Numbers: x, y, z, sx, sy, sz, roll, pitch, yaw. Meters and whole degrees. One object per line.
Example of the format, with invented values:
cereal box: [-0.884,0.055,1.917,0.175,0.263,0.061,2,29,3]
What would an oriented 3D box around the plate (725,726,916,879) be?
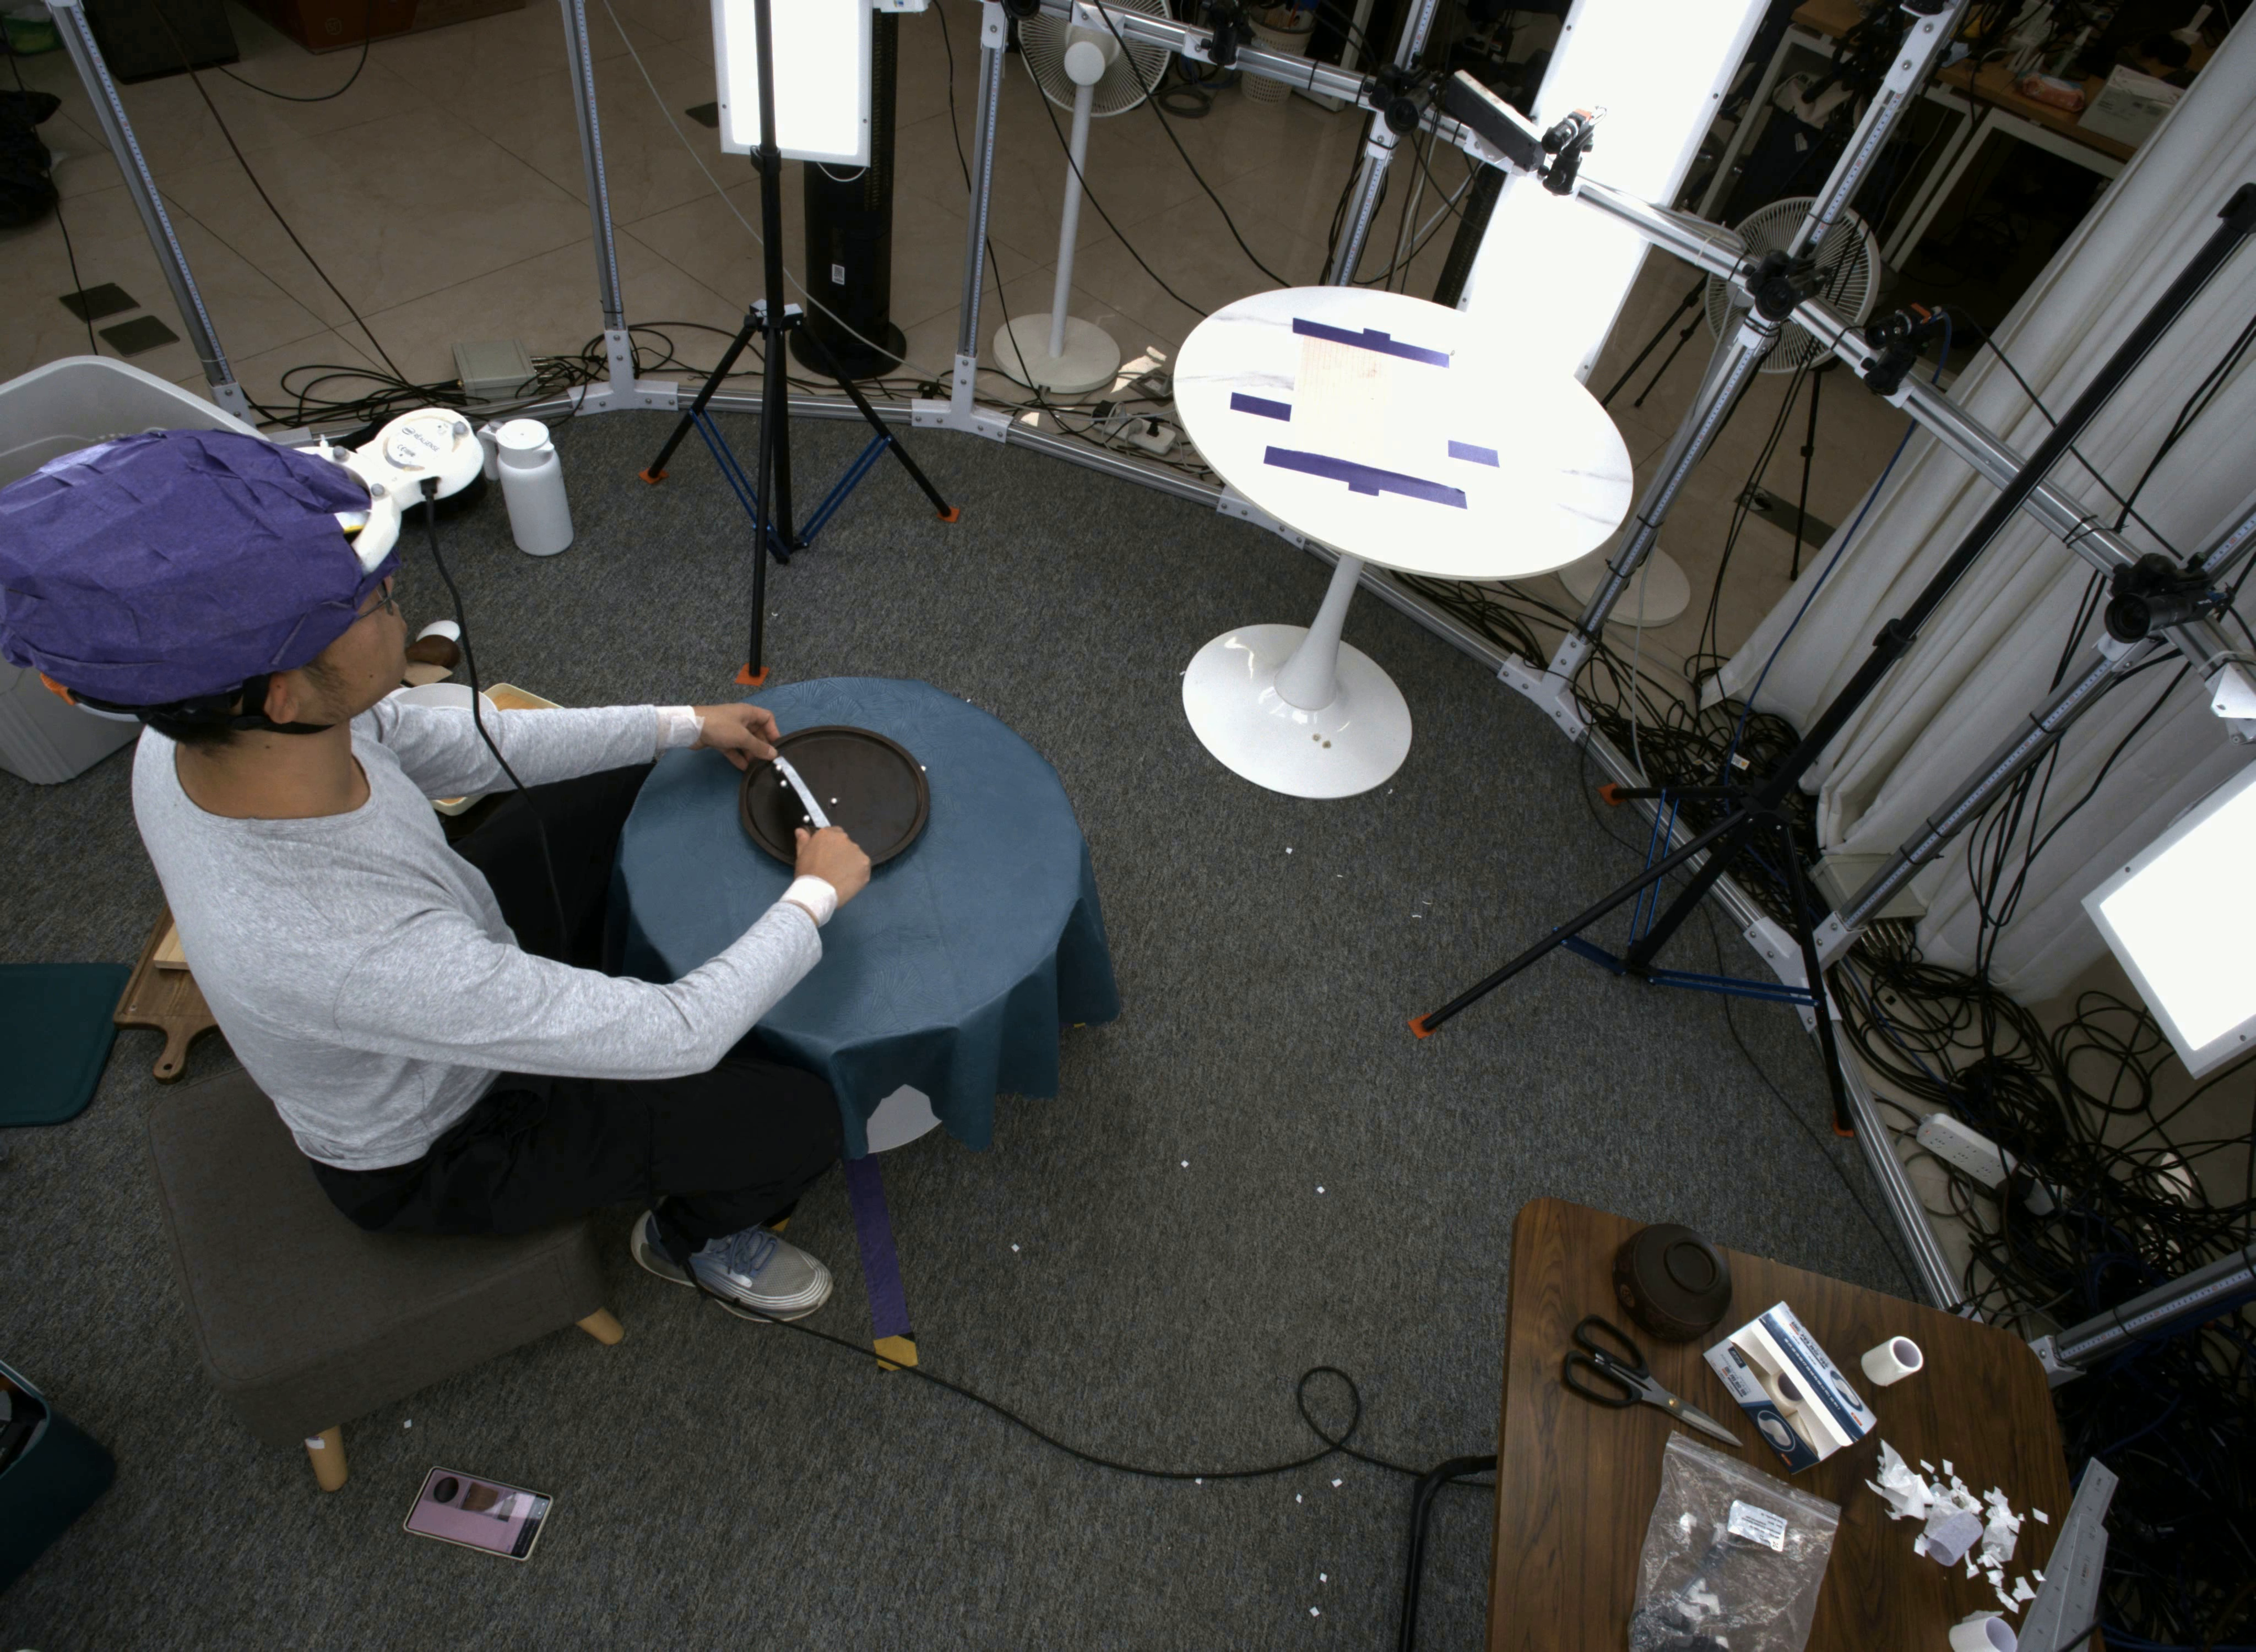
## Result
plate: [-0.412,-0.034,1.746,0.254,0.029,0.250,8,55,-10]

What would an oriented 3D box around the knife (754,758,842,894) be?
knife: [-0.420,-0.009,1.641,0.051,0.020,0.279,8,32,-42]
